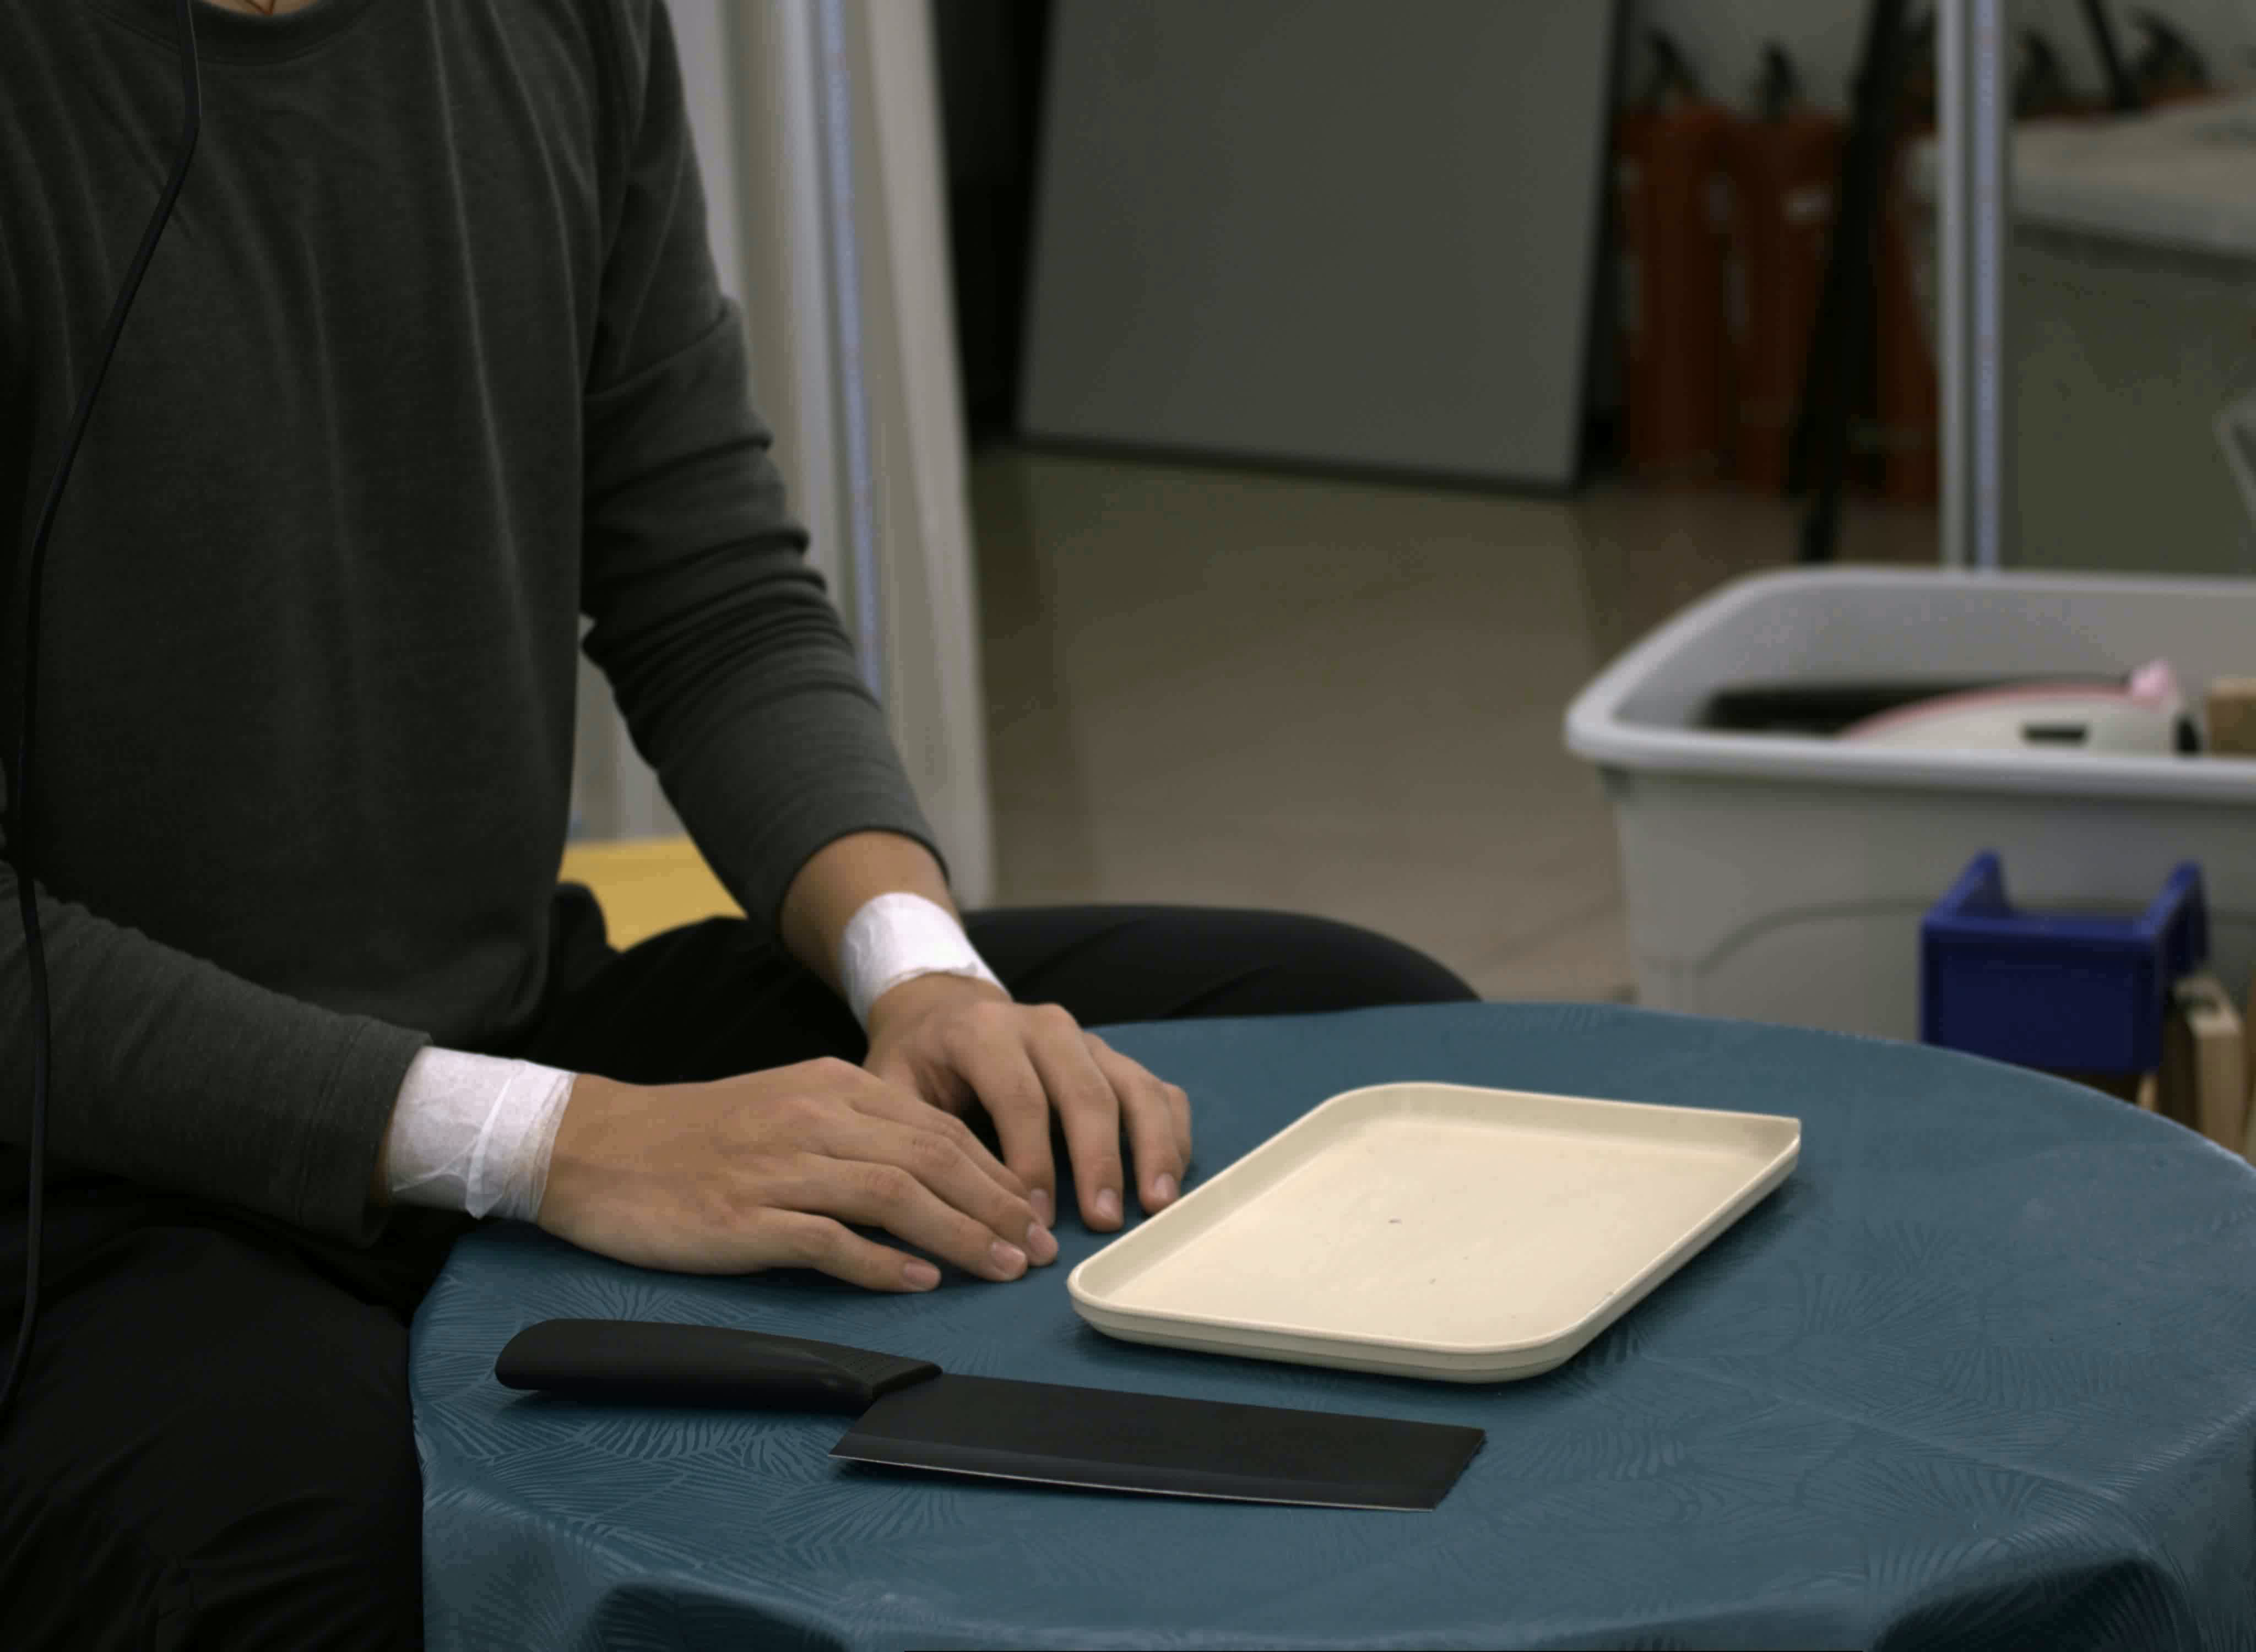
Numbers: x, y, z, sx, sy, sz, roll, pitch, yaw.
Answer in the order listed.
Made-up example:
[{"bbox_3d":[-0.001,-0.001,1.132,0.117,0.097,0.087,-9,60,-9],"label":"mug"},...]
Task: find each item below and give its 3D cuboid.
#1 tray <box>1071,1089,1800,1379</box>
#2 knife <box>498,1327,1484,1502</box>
[{"bbox_3d":[0.100,0.126,1.686,0.172,0.017,0.236,2,15,29],"label":"tray"},{"bbox_3d":[-0.045,0.171,1.555,0.302,0.021,0.080,4,17,25],"label":"knife"}]
